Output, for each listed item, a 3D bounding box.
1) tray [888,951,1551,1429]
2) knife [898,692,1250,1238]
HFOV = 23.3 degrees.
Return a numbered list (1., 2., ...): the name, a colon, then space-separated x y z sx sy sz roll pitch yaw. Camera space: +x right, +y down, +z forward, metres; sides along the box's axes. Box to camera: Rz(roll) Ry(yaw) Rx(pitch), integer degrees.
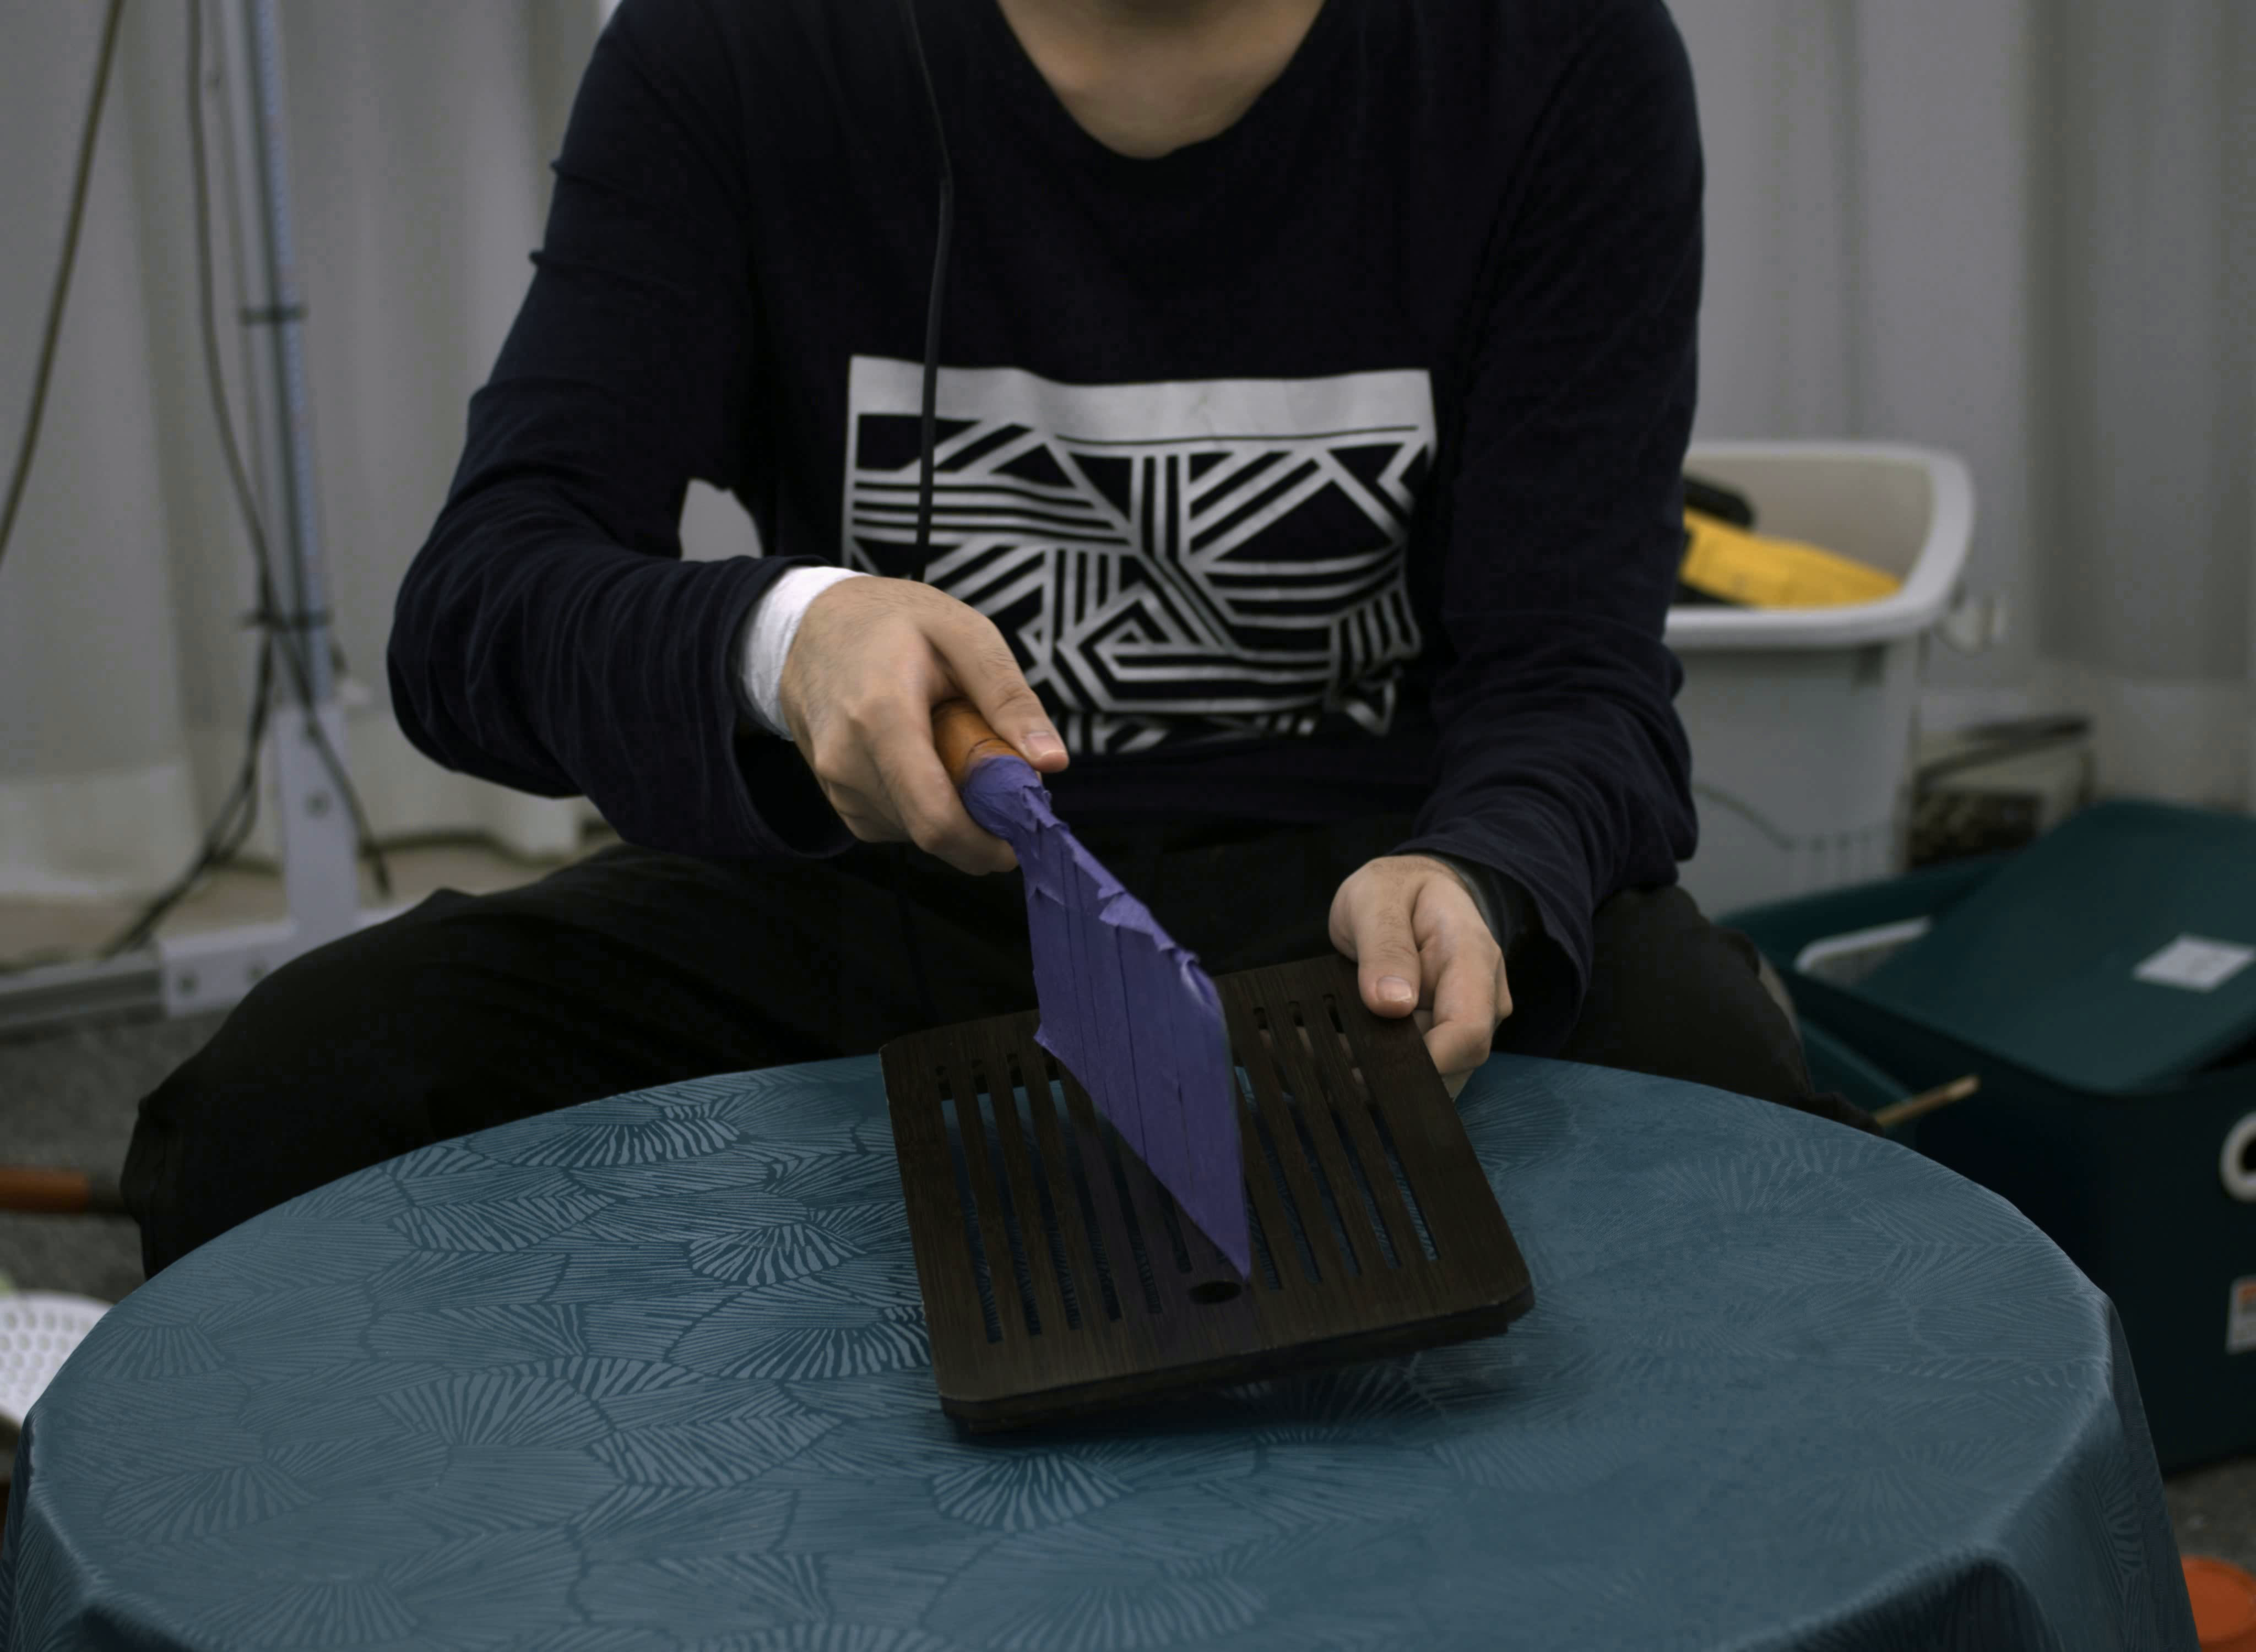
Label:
1. tray: 0.020 0.106 1.651 0.169 0.018 0.308 -11 18 -3
2. knife: -0.019 0.040 1.671 0.032 0.103 0.318 -8 18 -13
